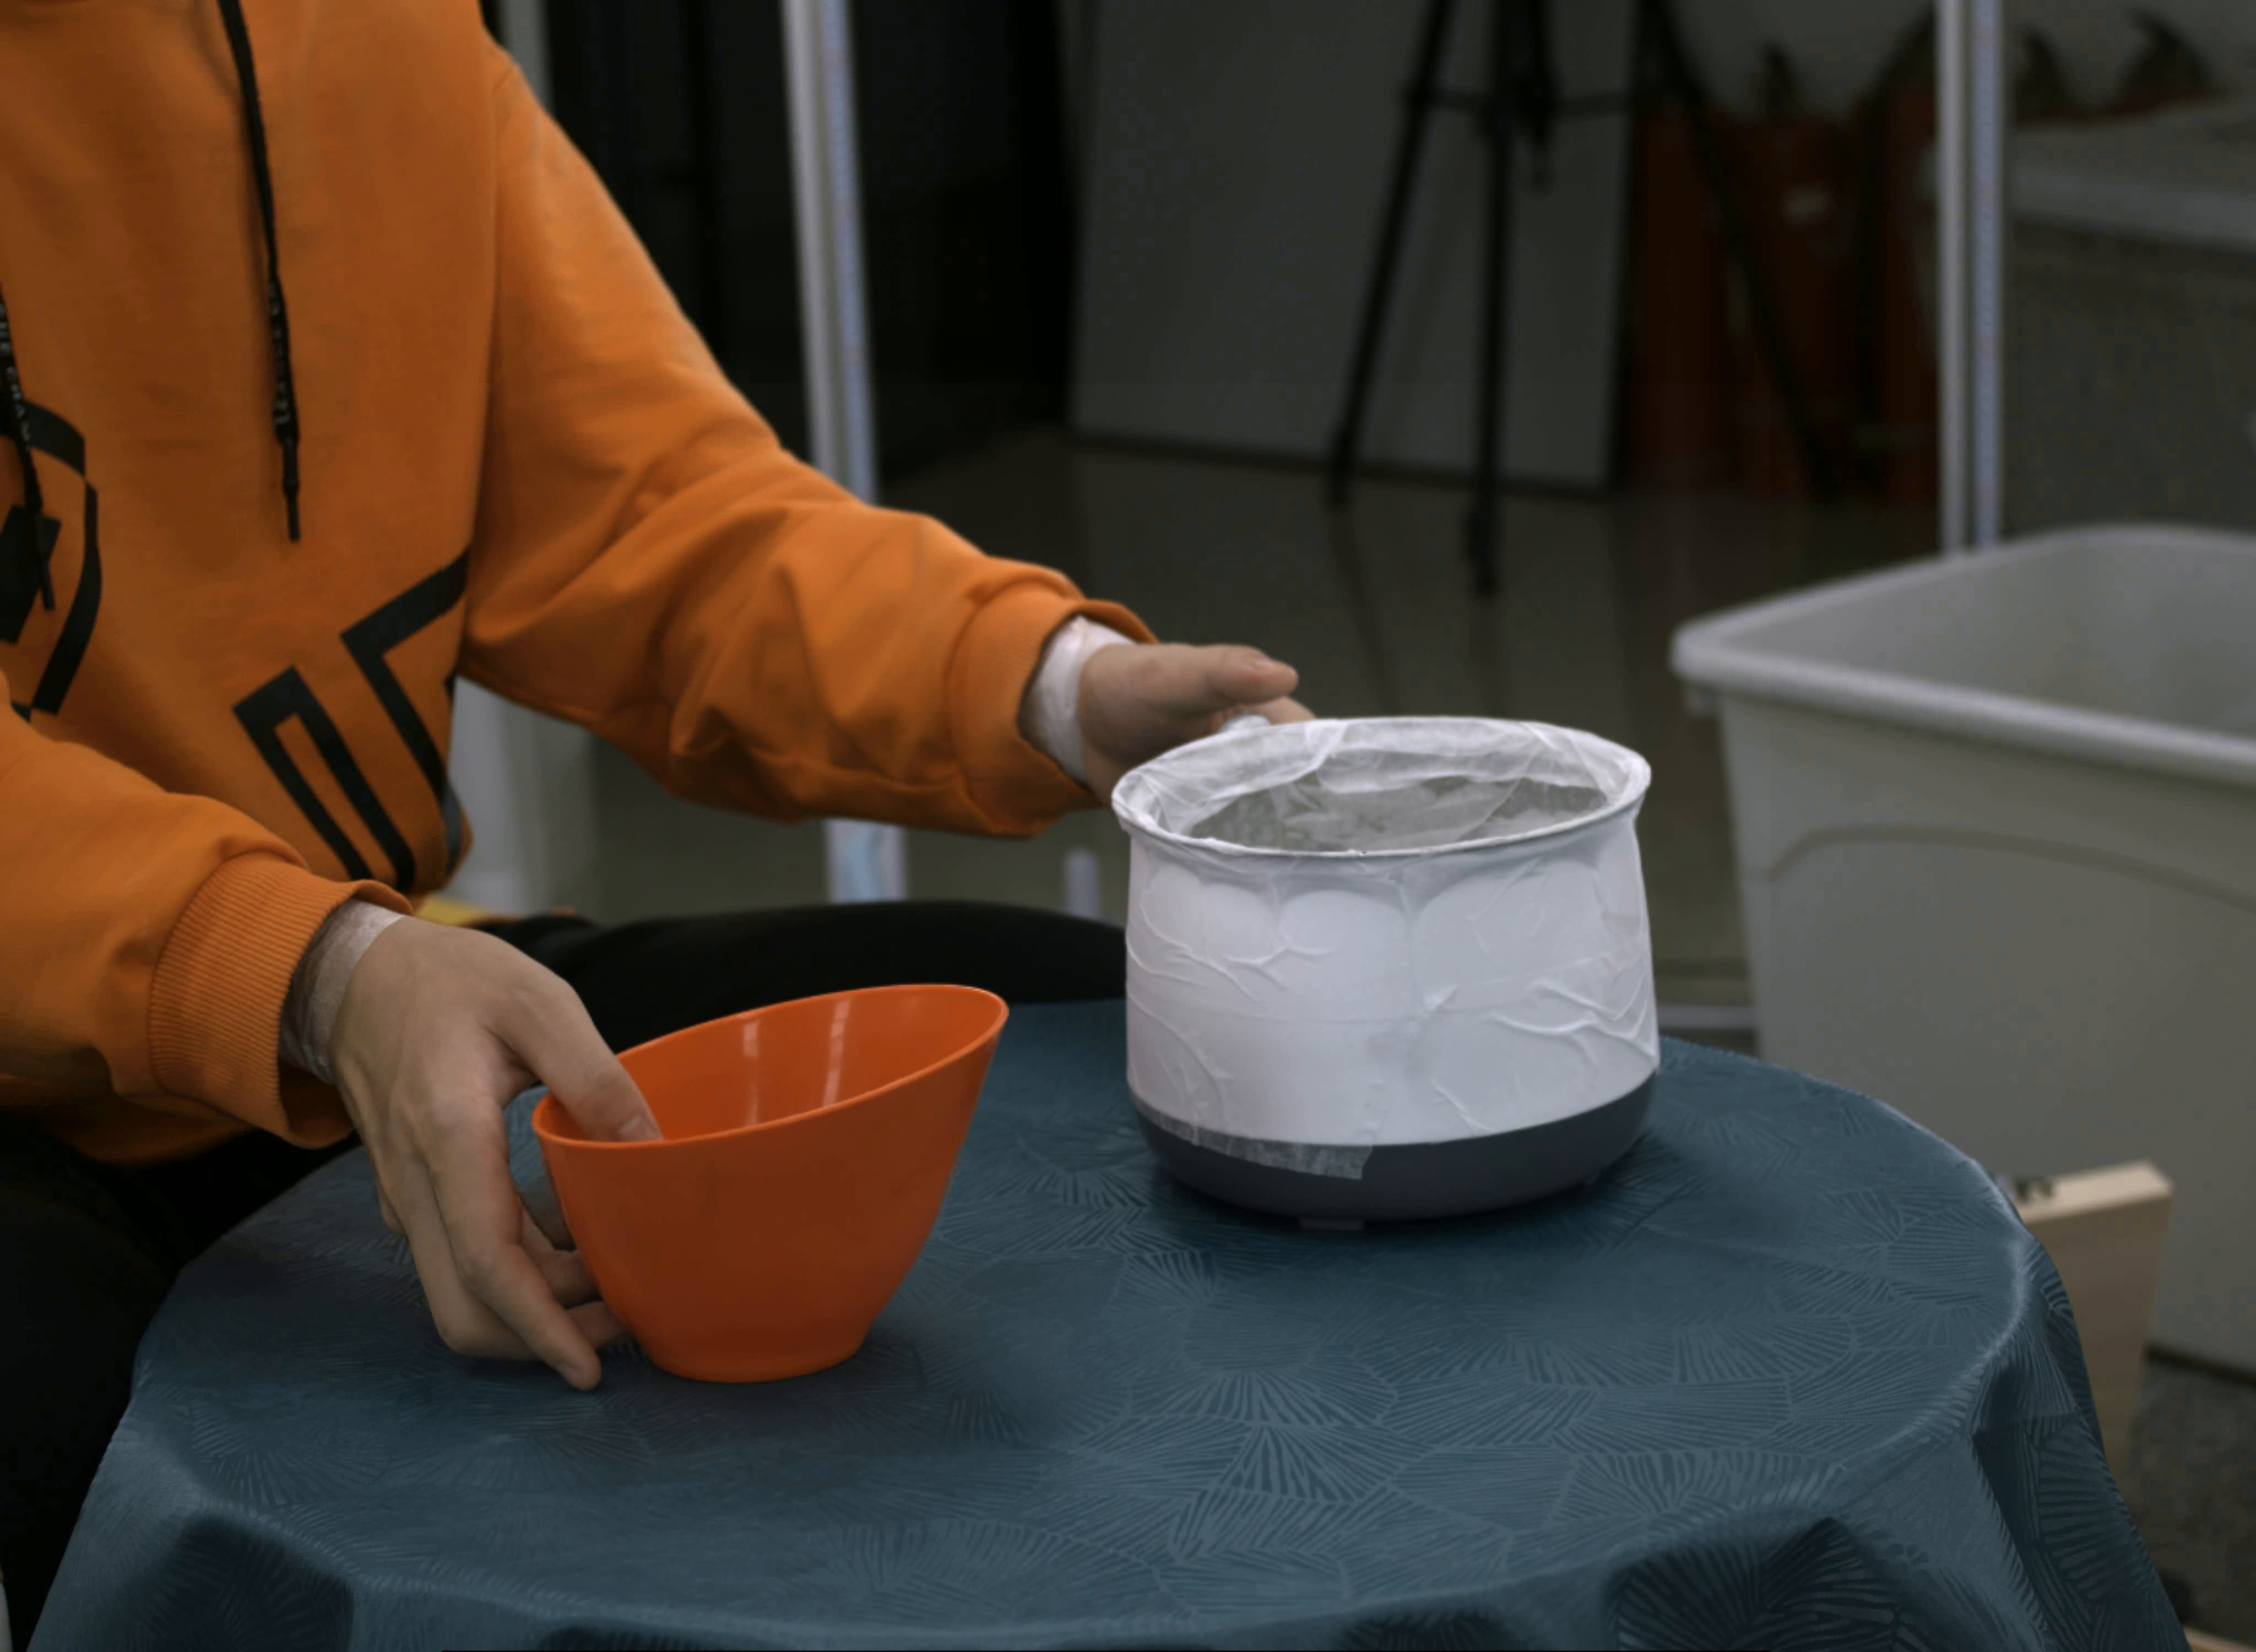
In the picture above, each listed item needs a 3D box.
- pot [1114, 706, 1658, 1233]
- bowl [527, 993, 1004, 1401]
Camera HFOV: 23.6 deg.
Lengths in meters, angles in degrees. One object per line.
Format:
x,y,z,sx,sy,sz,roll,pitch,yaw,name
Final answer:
0.073,0.041,1.787,0.175,0.138,0.236,-9,15,-24,pot
-0.106,0.114,1.632,0.146,0.106,0.148,-5,13,0,bowl
